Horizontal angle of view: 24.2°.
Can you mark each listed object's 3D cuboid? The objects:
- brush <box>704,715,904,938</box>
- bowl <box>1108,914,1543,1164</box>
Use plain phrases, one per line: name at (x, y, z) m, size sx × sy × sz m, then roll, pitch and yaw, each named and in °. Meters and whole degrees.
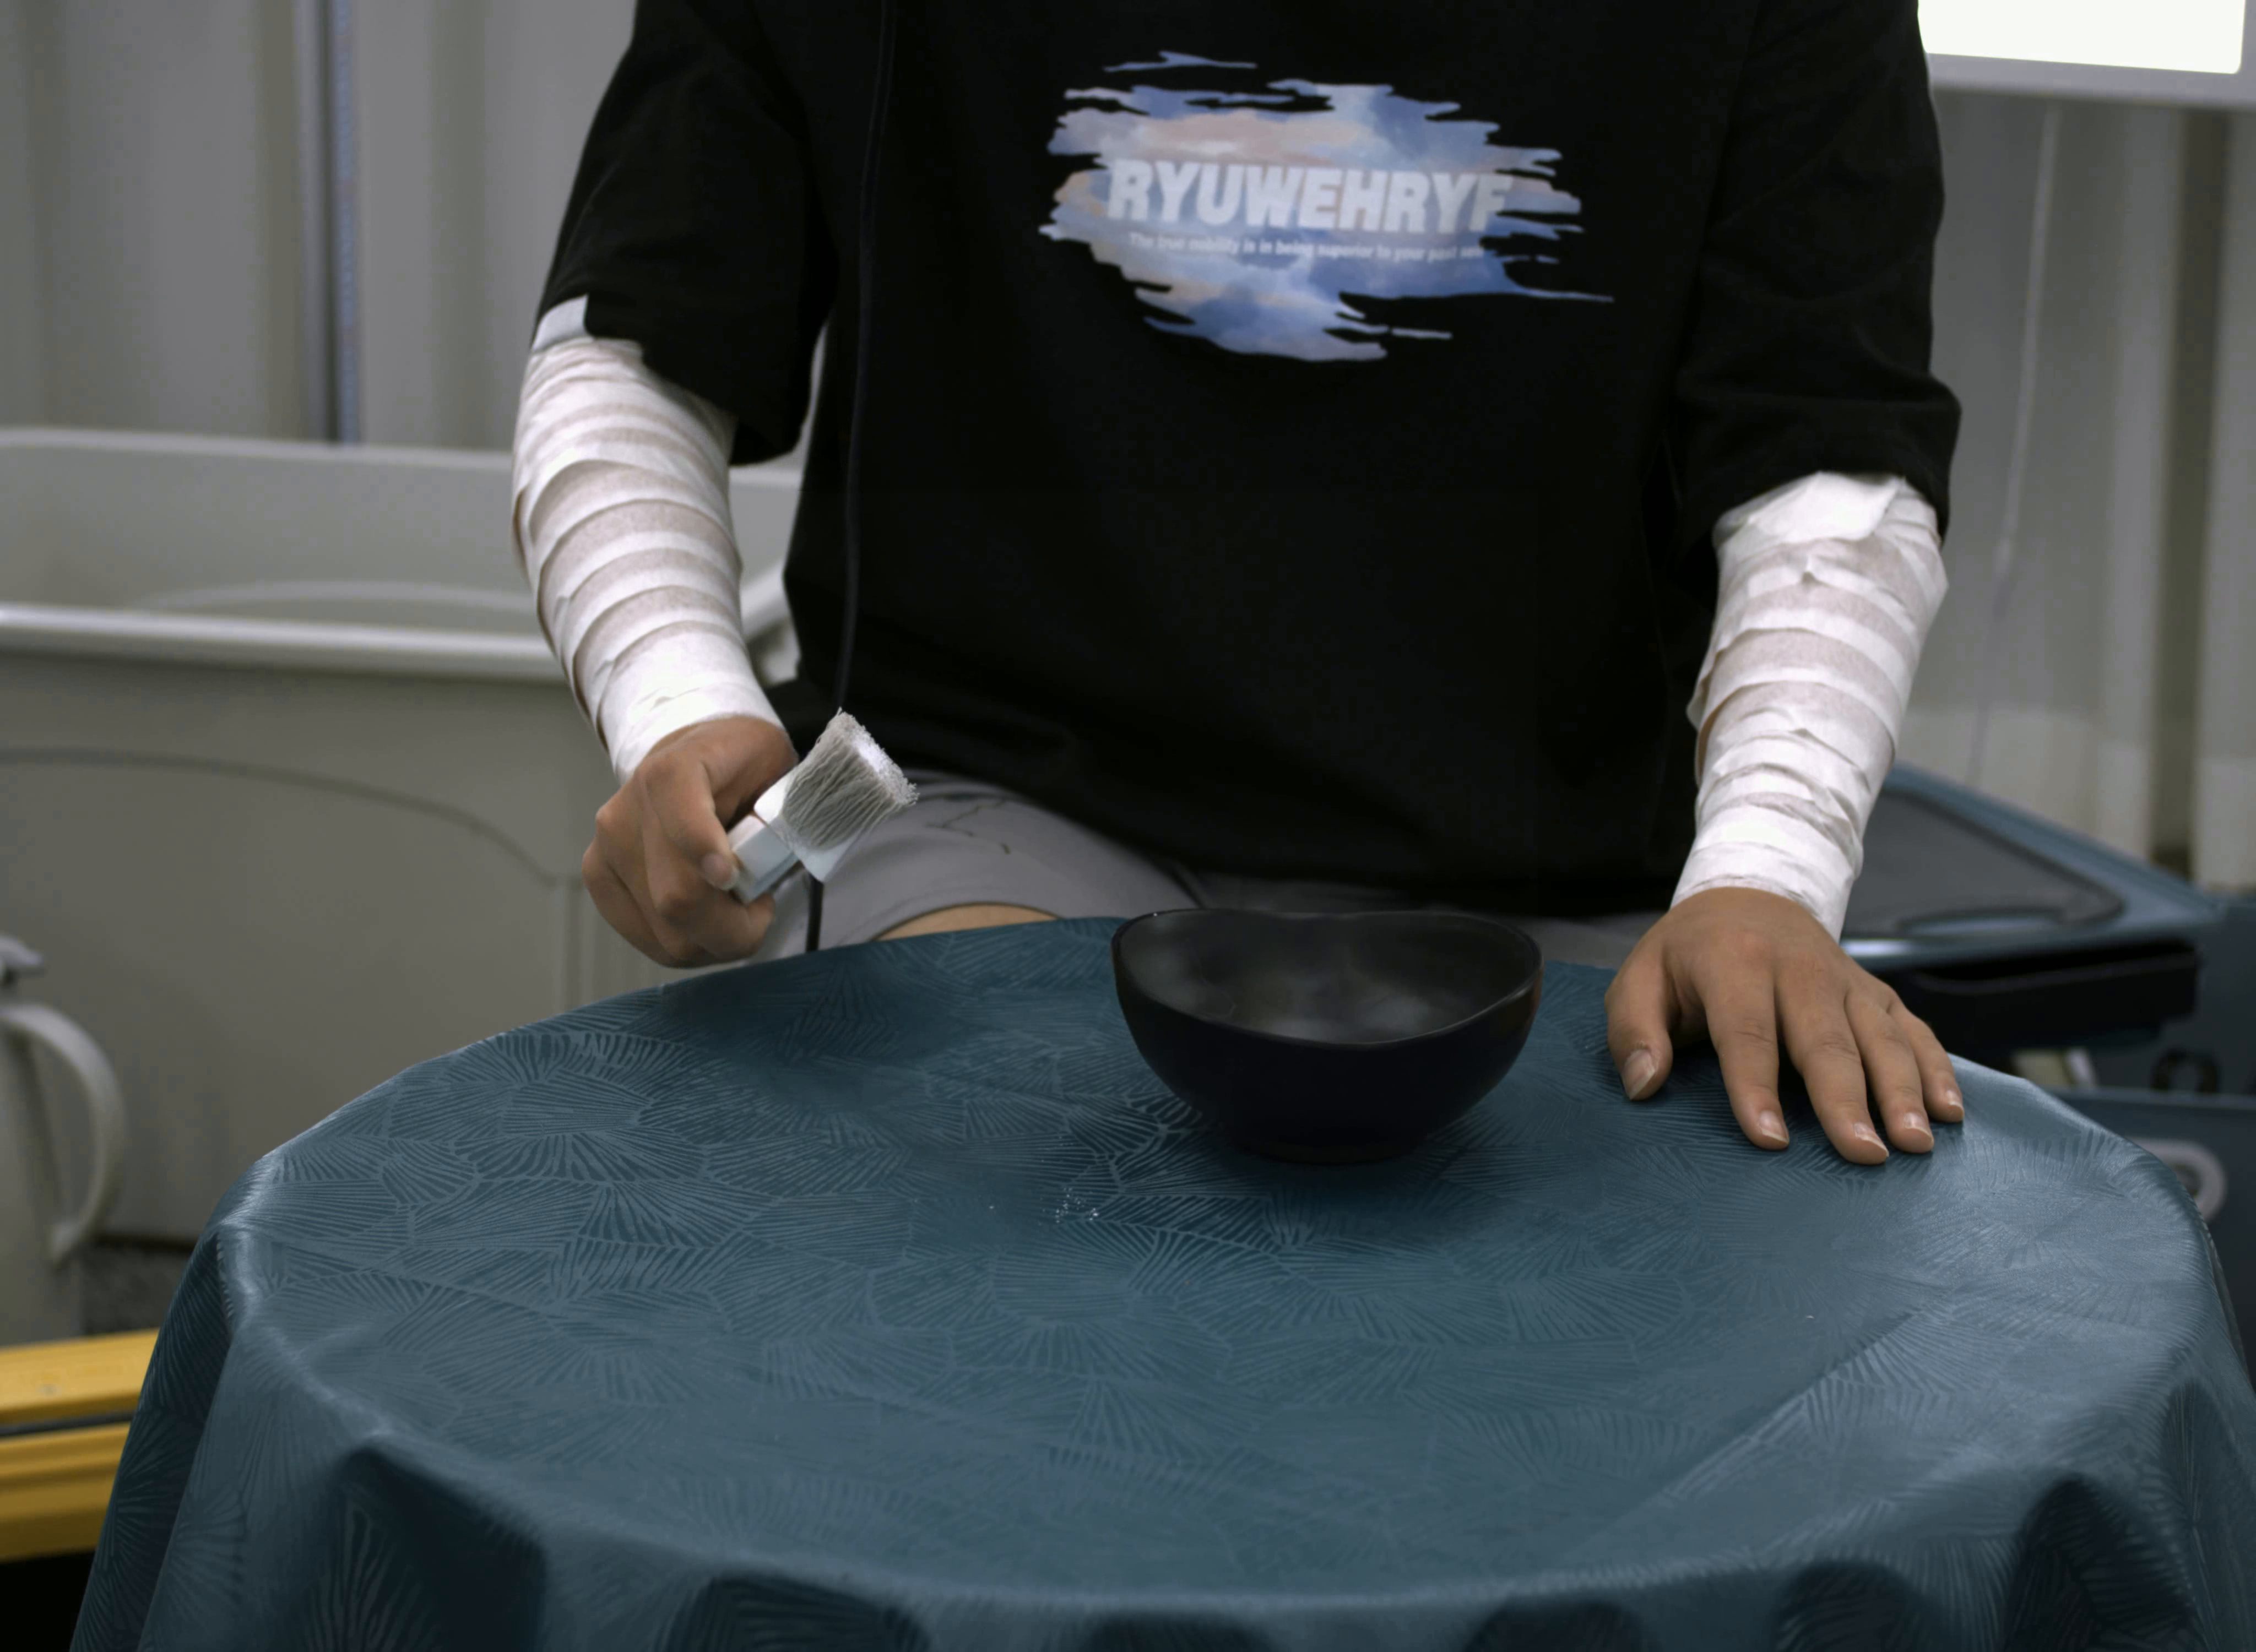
brush at (-0.105, 0.001, 1.692) m, size 0.050 × 0.034 × 0.243 m, roll -45°, pitch 1°, yaw -11°
bowl at (0.062, 0.068, 1.669) m, size 0.137 × 0.067 × 0.169 m, roll 0°, pitch 13°, yaw -2°
